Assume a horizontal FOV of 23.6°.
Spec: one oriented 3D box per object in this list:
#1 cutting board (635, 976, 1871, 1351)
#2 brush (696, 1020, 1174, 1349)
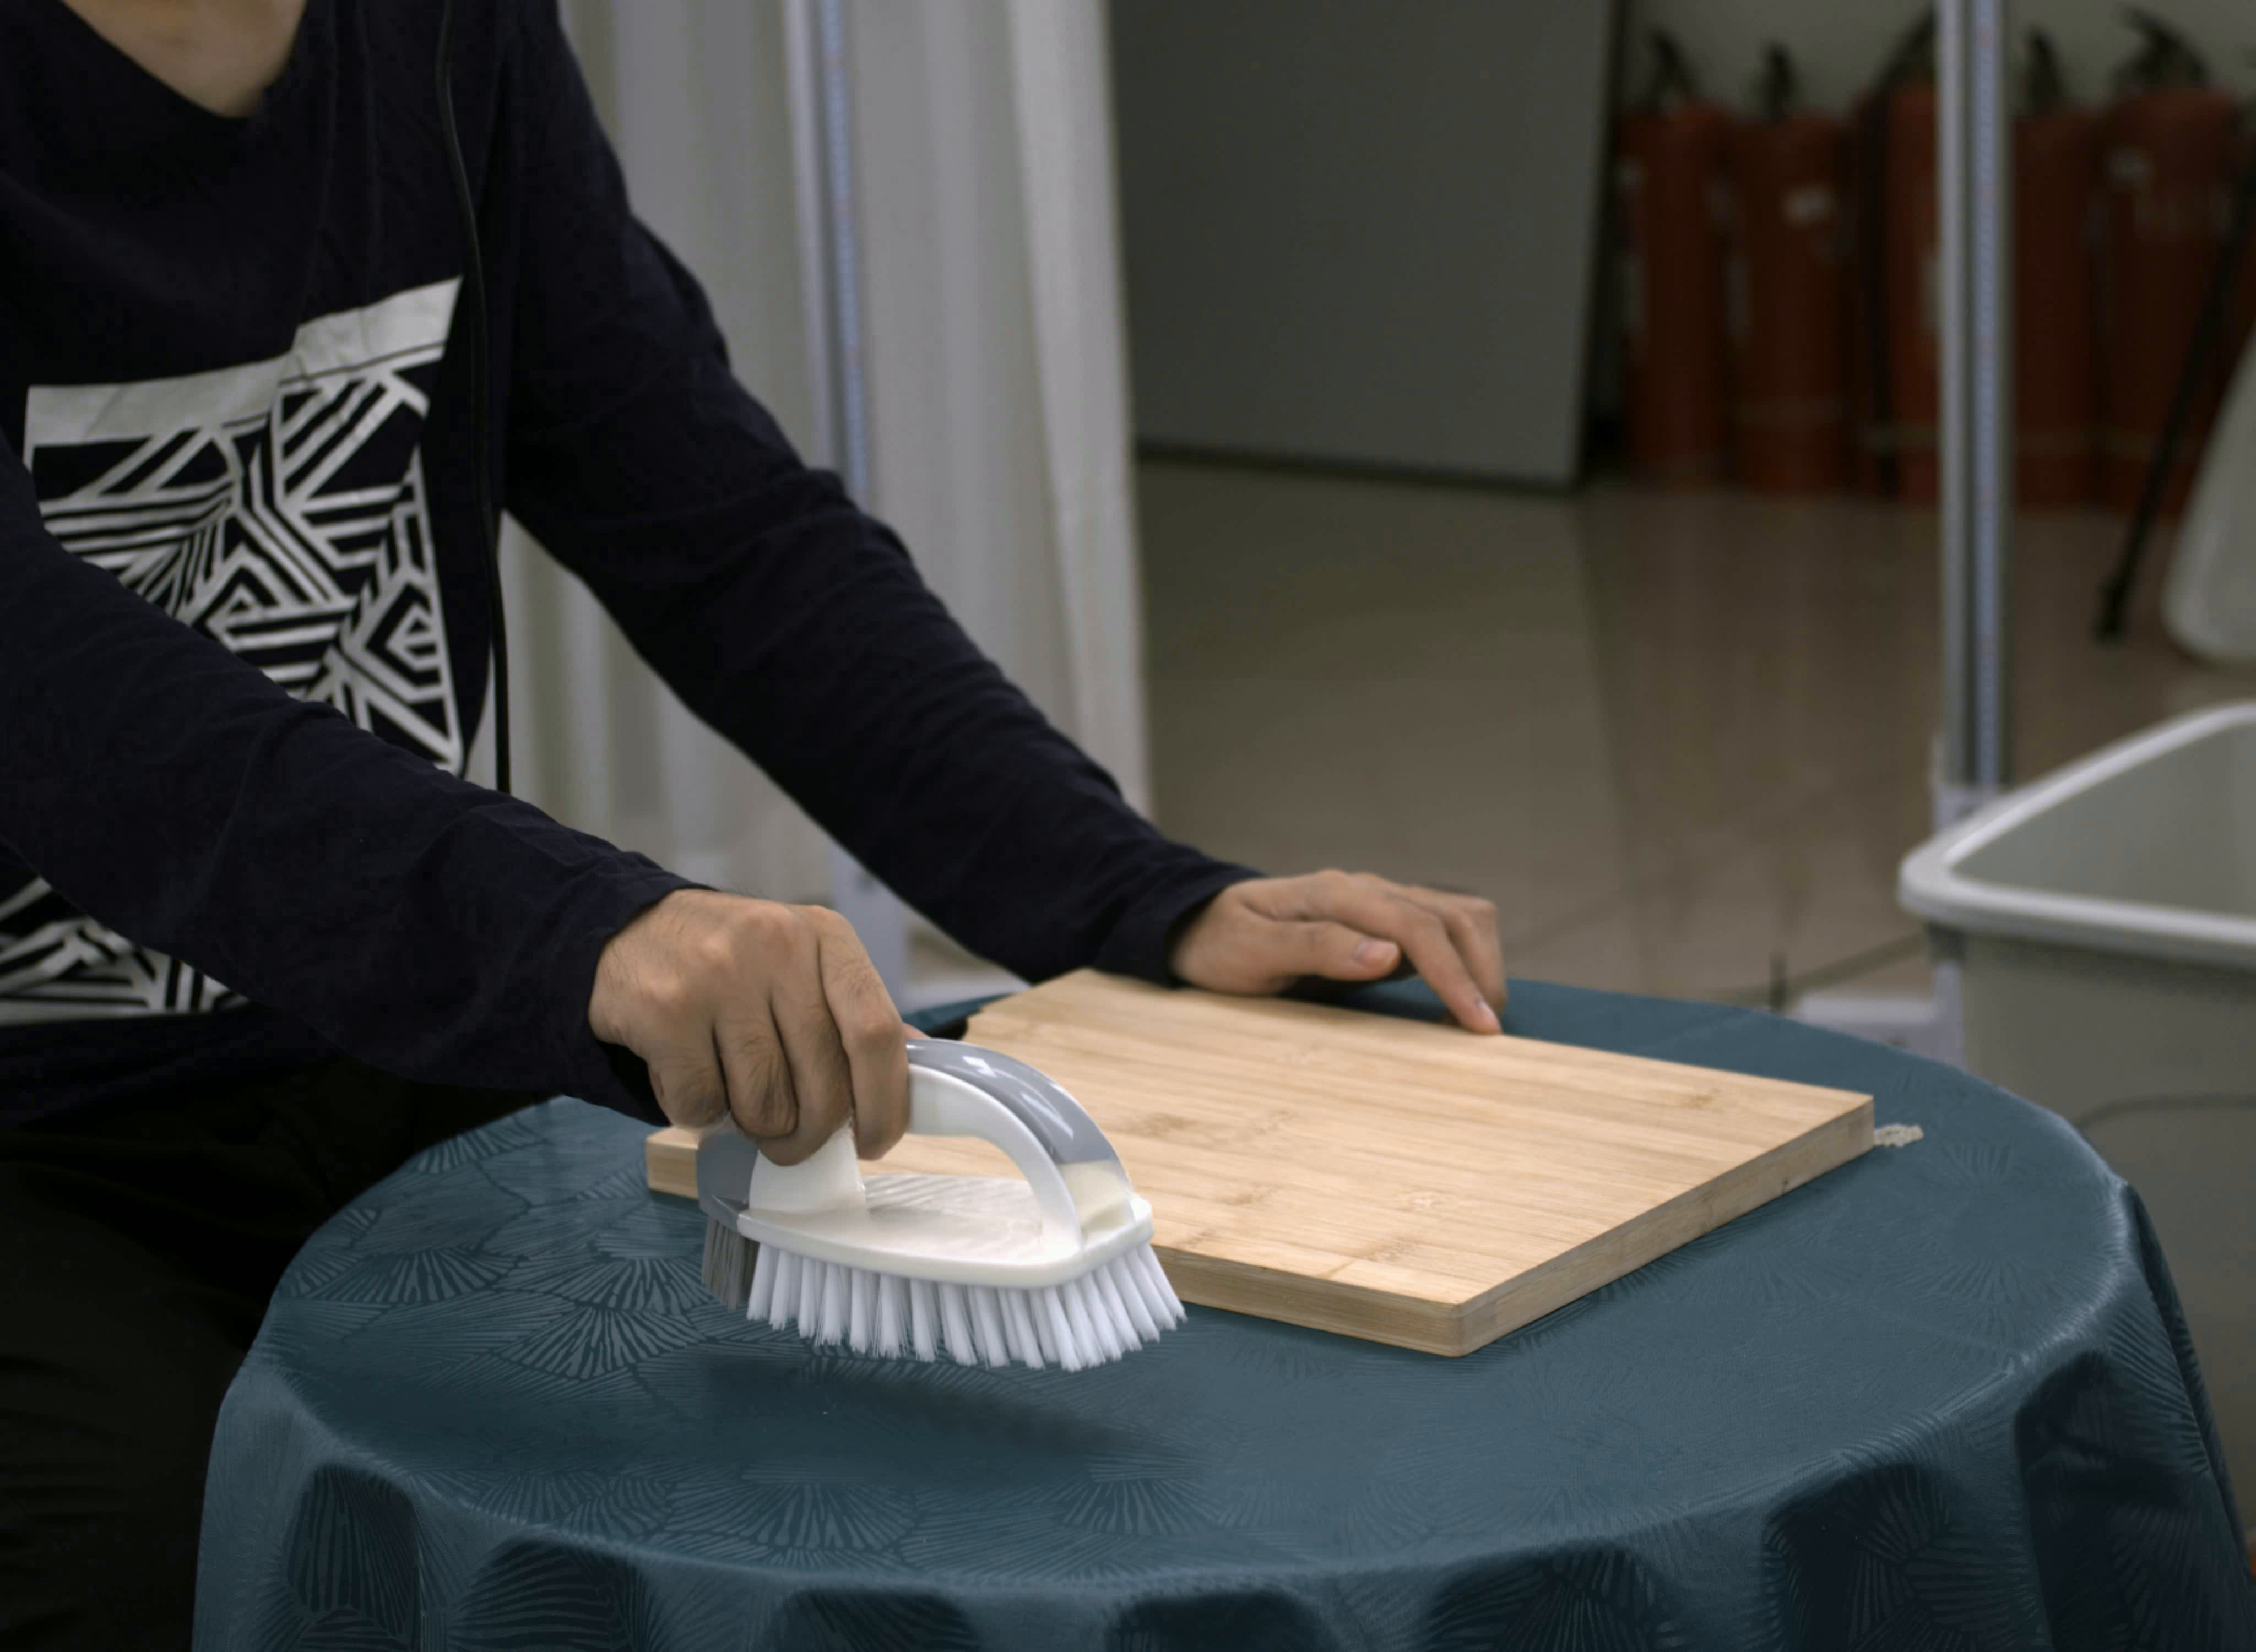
[{"bbox_3d":[0.039,0.107,1.791,0.351,0.024,0.246,7,17,39],"label":"cutting board"},{"bbox_3d":[-0.070,0.103,1.575,0.177,0.095,0.060,0,16,44],"label":"brush"}]
